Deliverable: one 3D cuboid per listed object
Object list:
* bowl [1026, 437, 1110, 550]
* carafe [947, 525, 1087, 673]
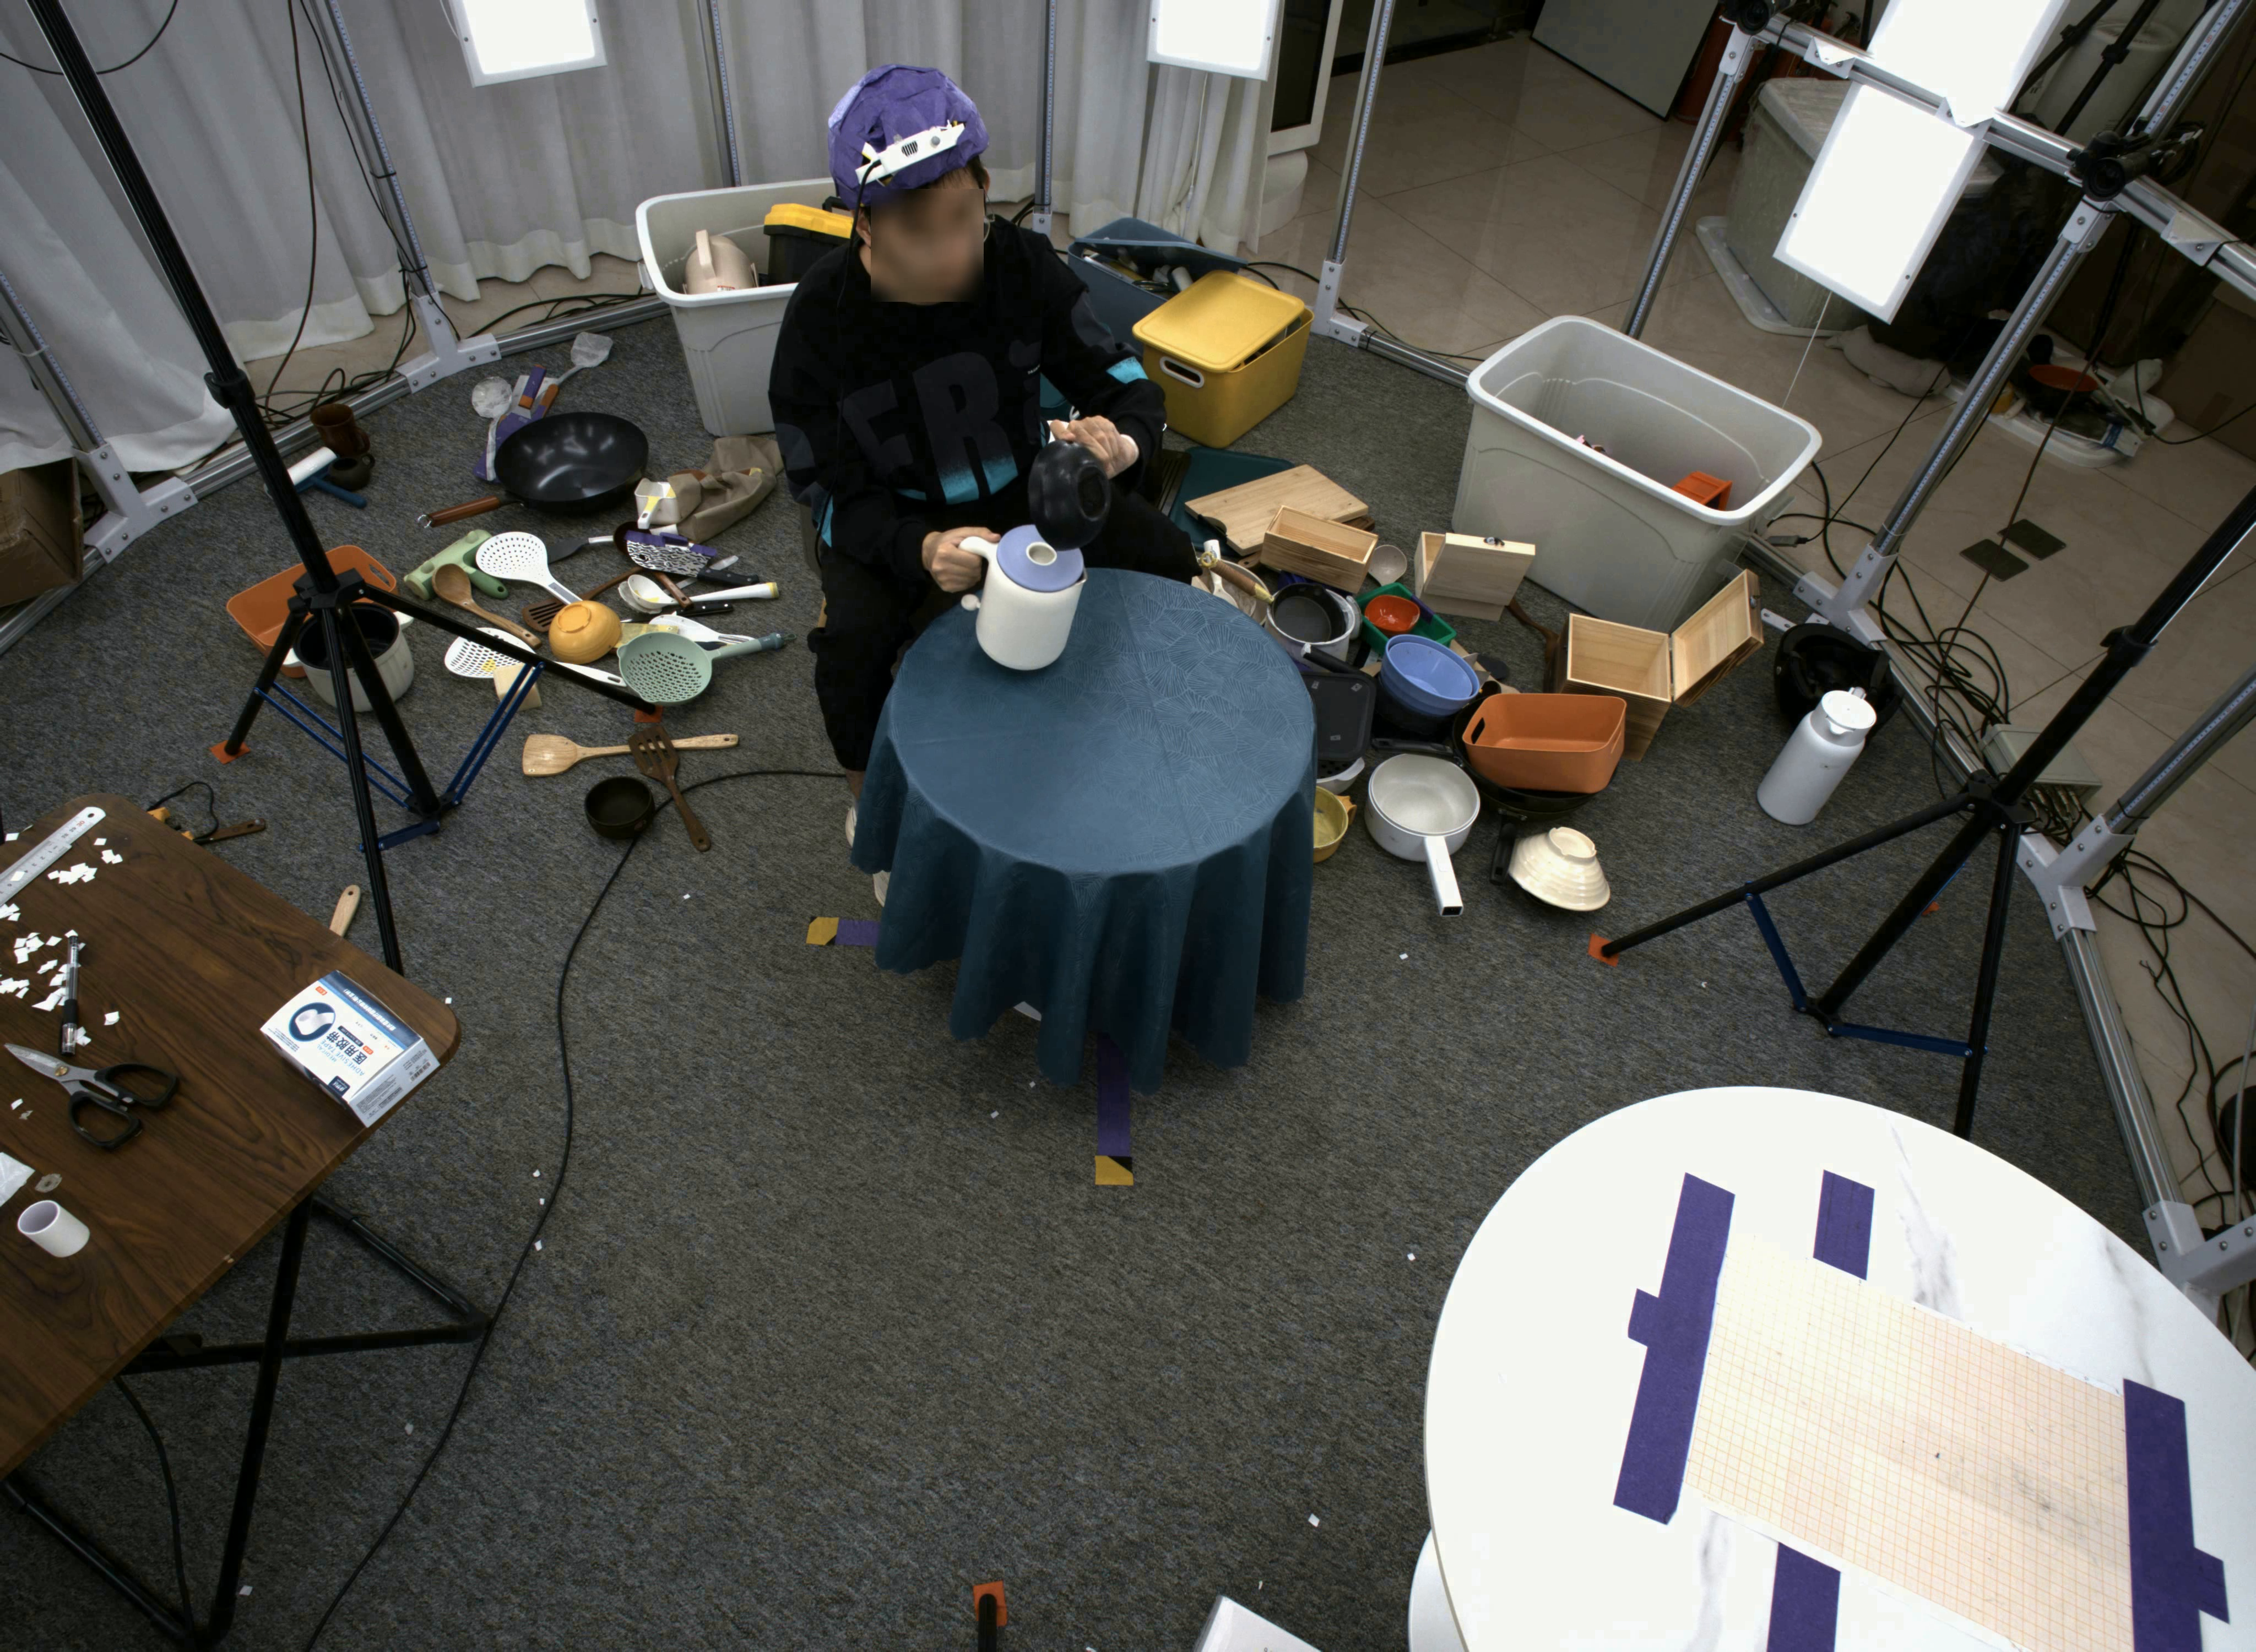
[{"bbox_3d":[-0.064,-0.418,1.617,0.050,0.137,0.142,6,42,37],"label":"bowl"},{"bbox_3d":[-0.159,-0.323,1.788,0.191,0.178,0.135,20,52,3],"label":"carafe"}]
